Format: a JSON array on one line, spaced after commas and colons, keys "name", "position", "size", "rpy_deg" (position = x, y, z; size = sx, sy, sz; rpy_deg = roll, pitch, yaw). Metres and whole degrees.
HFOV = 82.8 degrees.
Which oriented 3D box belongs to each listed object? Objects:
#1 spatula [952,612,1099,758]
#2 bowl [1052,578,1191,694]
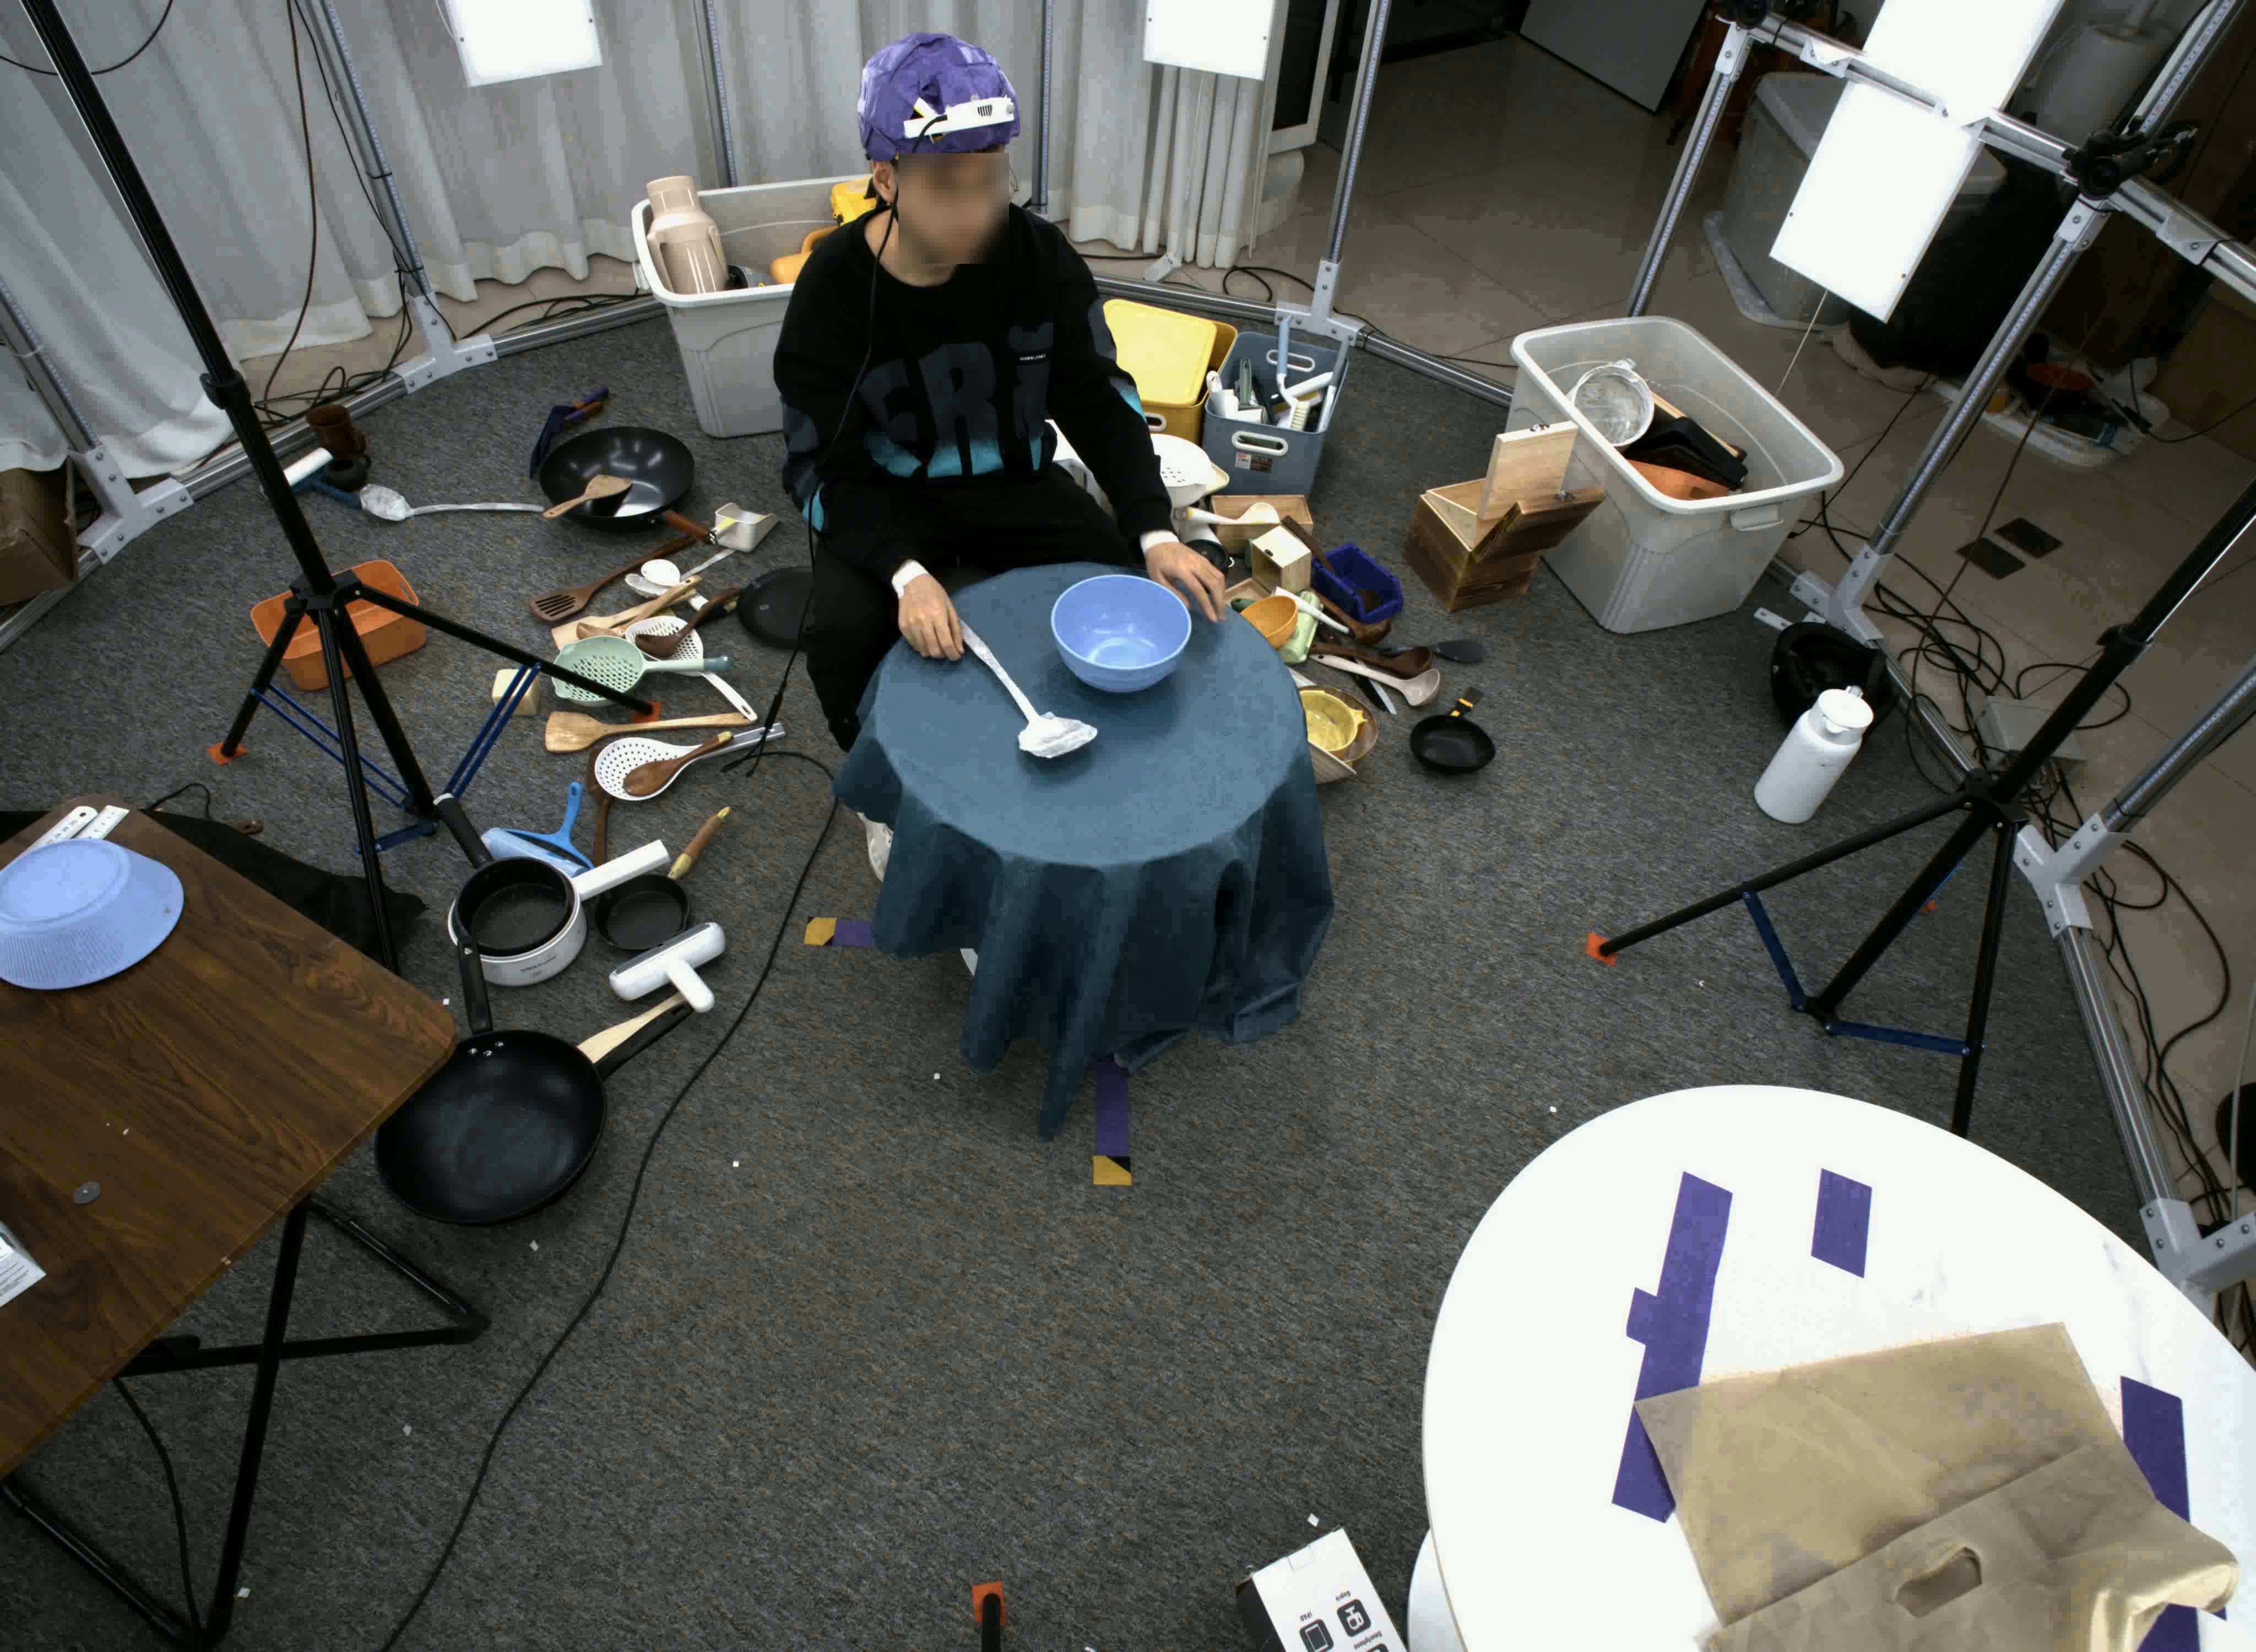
[{"name": "spatula", "position": [-0.168, -0.211, 1.832], "size": [0.099, 0.043, 0.372], "rpy_deg": [-25, 55, -21]}, {"name": "bowl", "position": [-0.011, -0.258, 1.848], "size": [0.196, 0.093, 0.201], "rpy_deg": [1, 49, -2]}]
